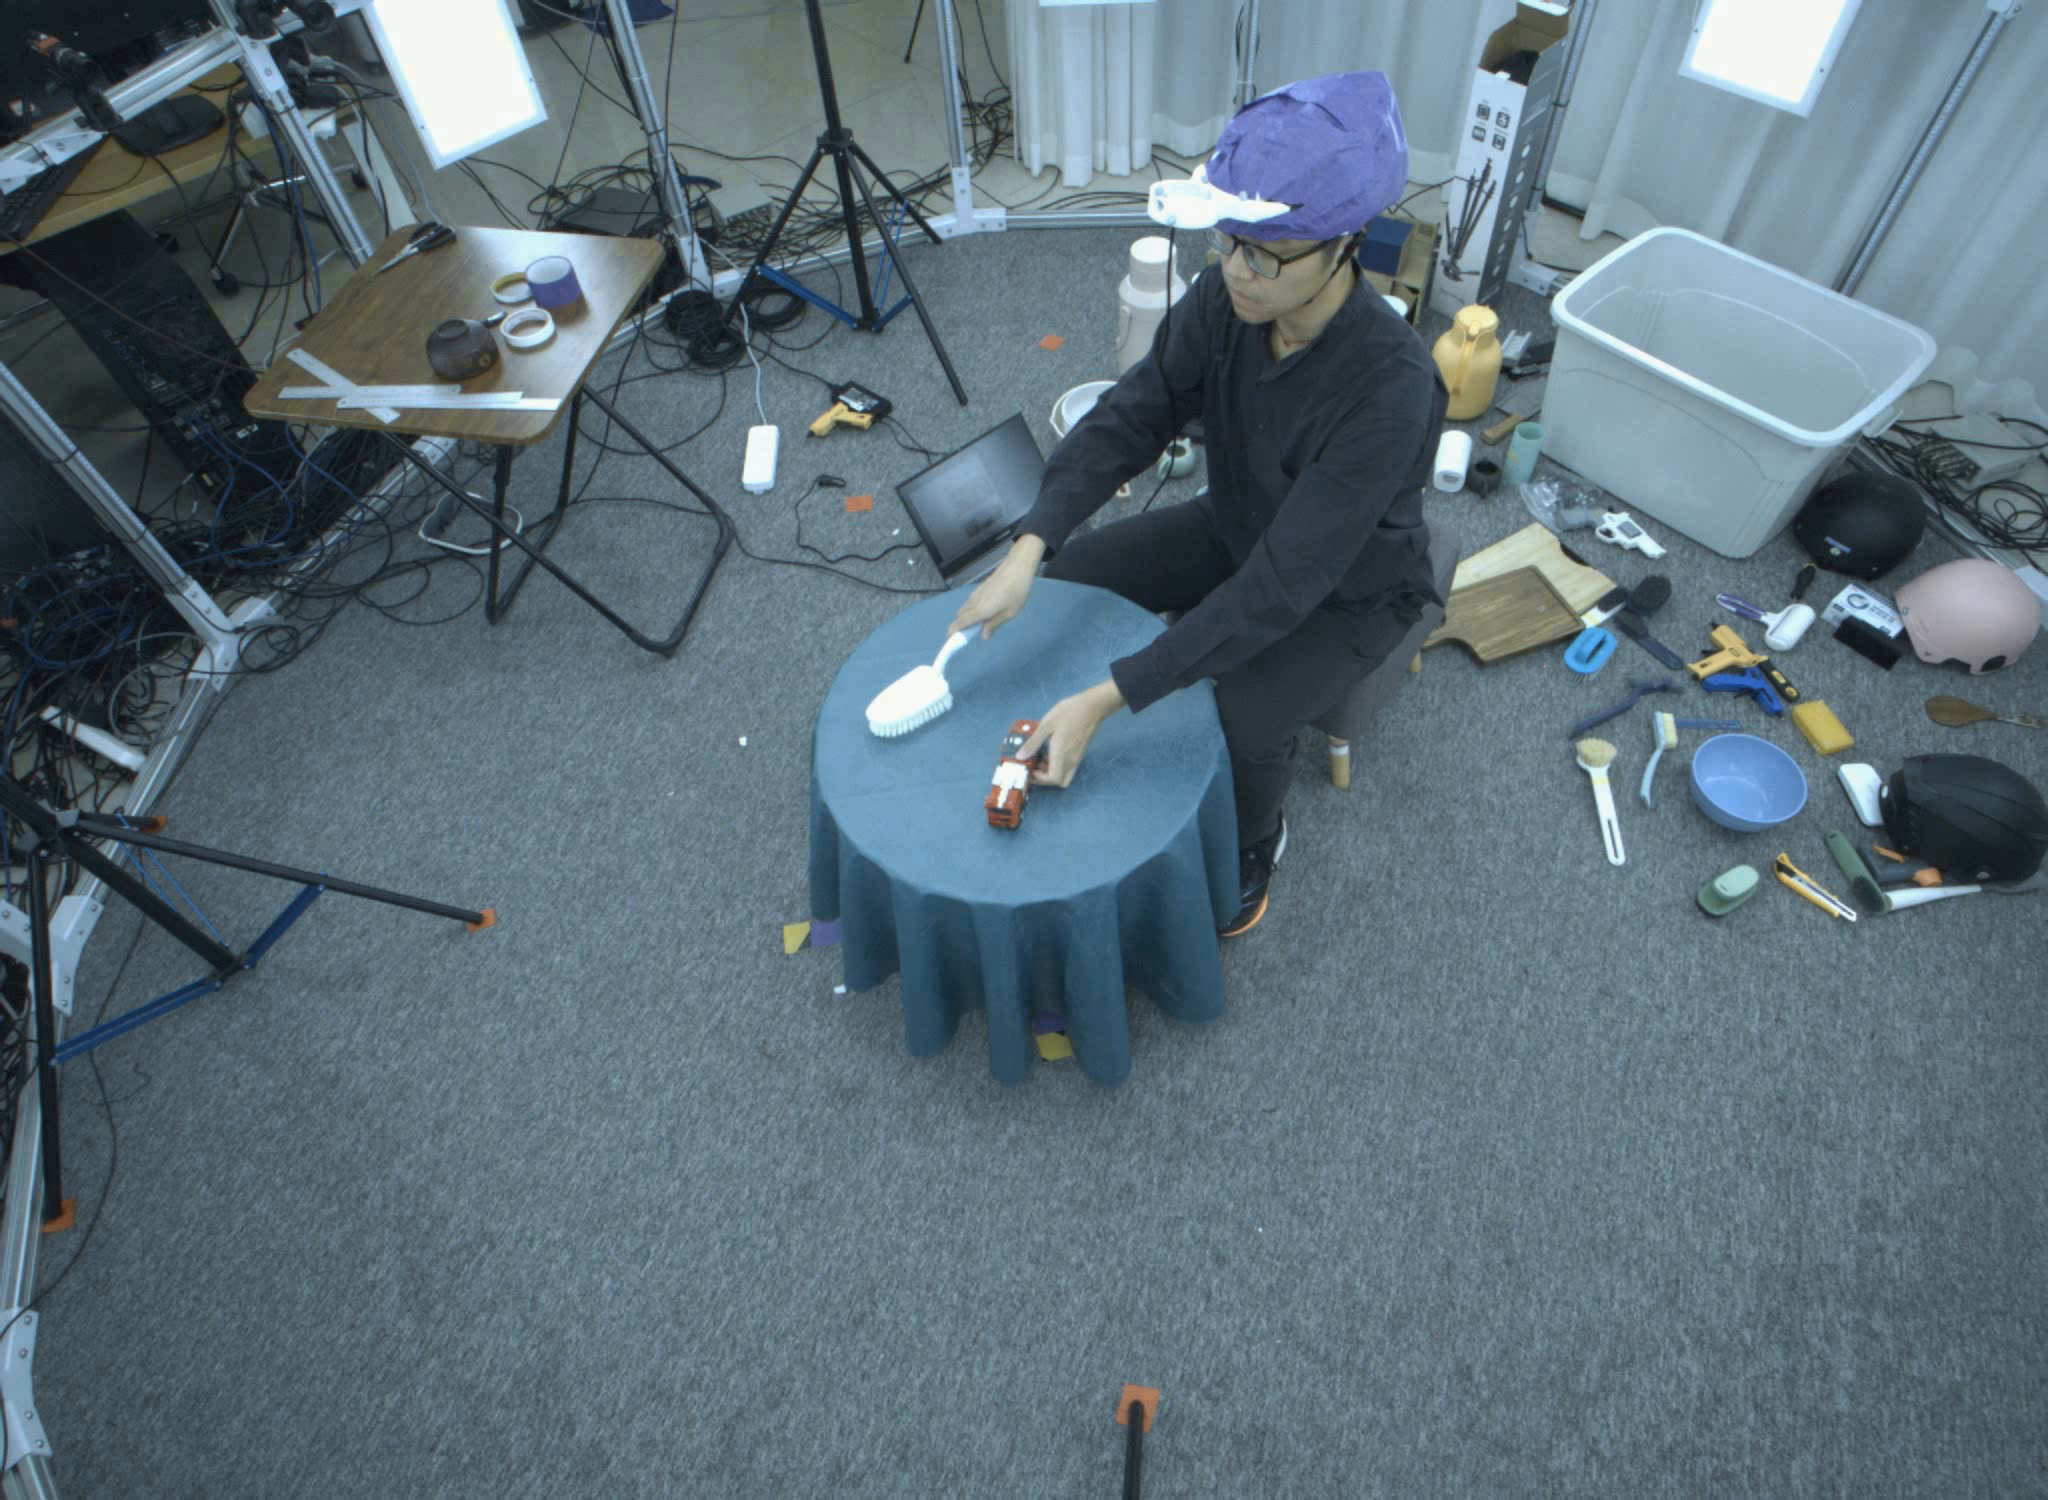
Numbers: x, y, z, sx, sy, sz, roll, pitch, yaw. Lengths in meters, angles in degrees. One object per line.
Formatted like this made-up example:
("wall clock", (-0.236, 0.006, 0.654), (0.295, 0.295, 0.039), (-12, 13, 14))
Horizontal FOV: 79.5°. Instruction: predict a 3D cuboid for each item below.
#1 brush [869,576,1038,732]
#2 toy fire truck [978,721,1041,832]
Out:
("brush", (-0.094, -0.134, 1.833), (0.326, 0.084, 0.083), (-41, 98, -9))
("toy fire truck", (-0.019, 0.035, 1.725), (0.053, 0.071, 0.167), (8, 55, 13))
